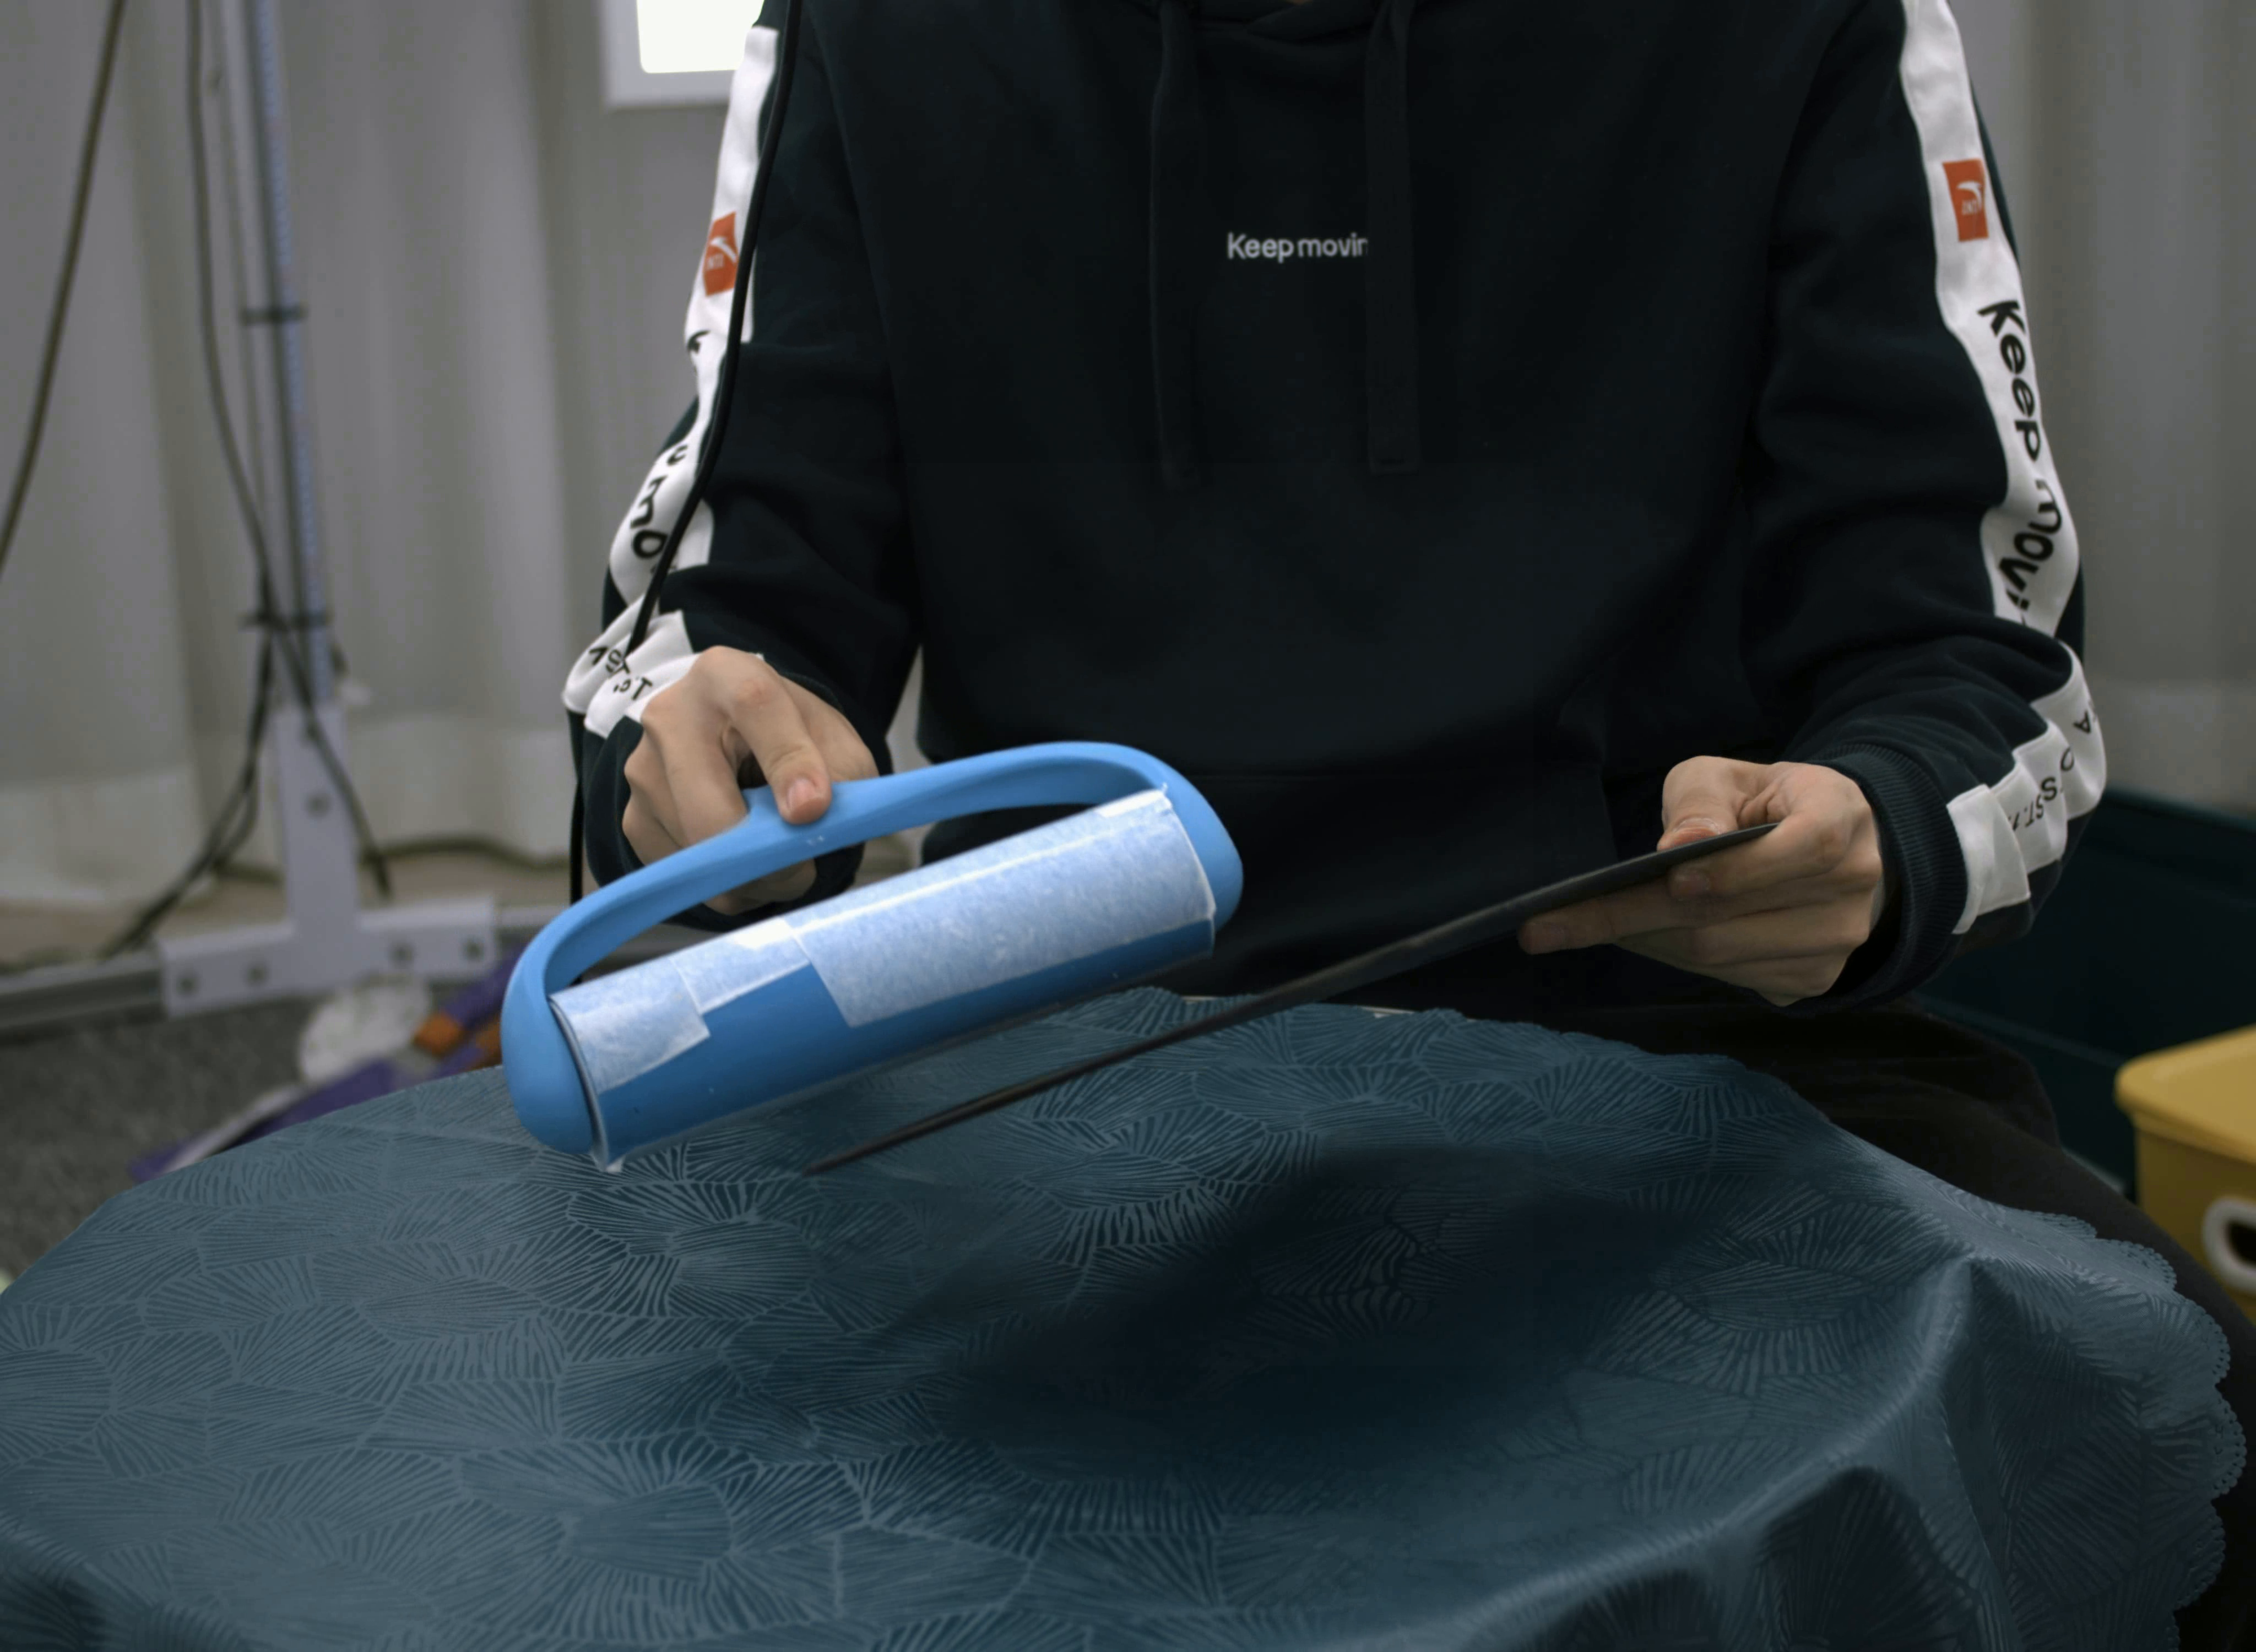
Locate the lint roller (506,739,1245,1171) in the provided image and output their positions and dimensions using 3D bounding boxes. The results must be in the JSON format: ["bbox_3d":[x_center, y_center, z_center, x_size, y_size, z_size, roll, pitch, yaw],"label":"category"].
[{"bbox_3d":[-0.096,0.020,1.651,0.228,0.067,0.182,-22,30,-17],"label":"lint roller"}]

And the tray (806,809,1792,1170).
[{"bbox_3d":[0.058,0.044,1.587,0.210,0.010,0.325,-23,-4,33],"label":"tray"}]
